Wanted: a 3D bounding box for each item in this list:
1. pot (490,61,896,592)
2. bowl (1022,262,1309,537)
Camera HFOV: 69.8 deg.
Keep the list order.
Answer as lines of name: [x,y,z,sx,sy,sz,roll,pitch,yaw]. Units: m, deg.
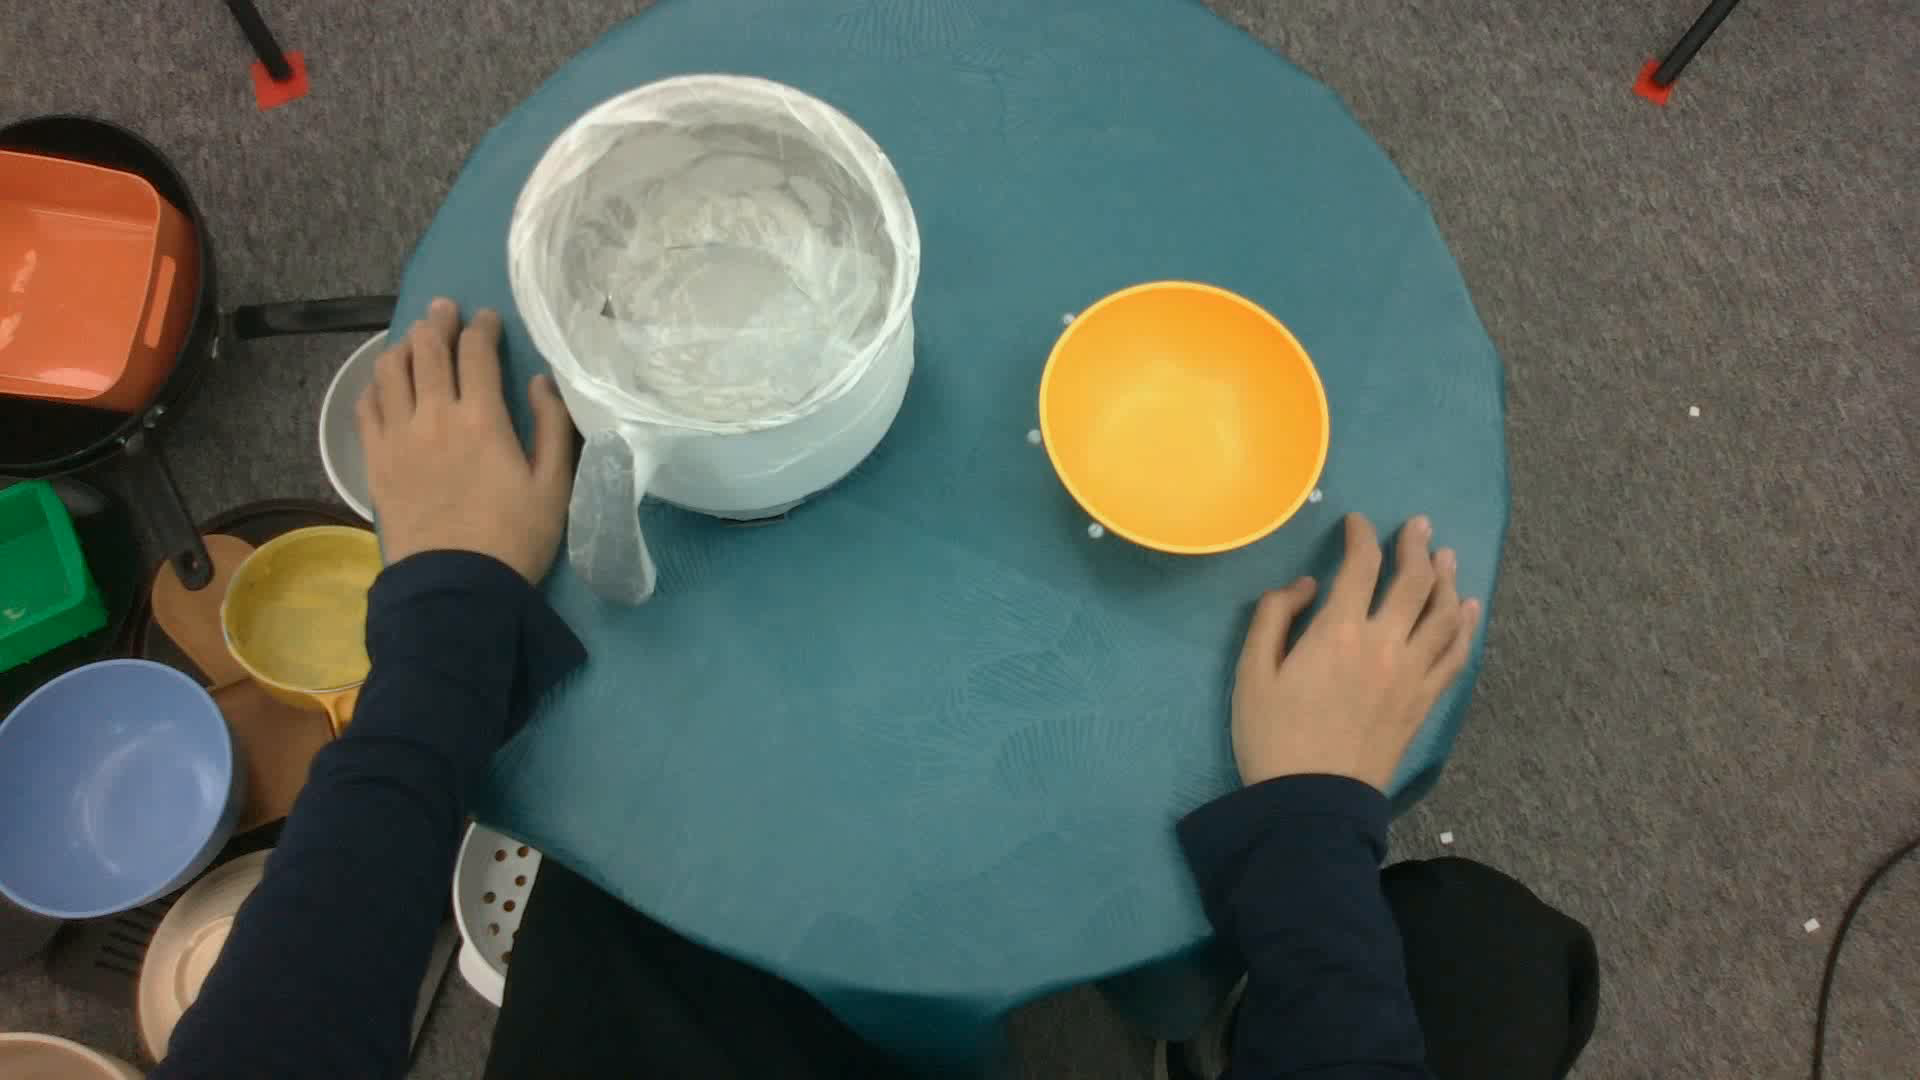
pot: [-0.129,-0.092,0.654,0.178,0.136,0.234,20,71,5]
bowl: [0.099,-0.064,0.706,0.145,0.060,0.145,2,74,-6]
